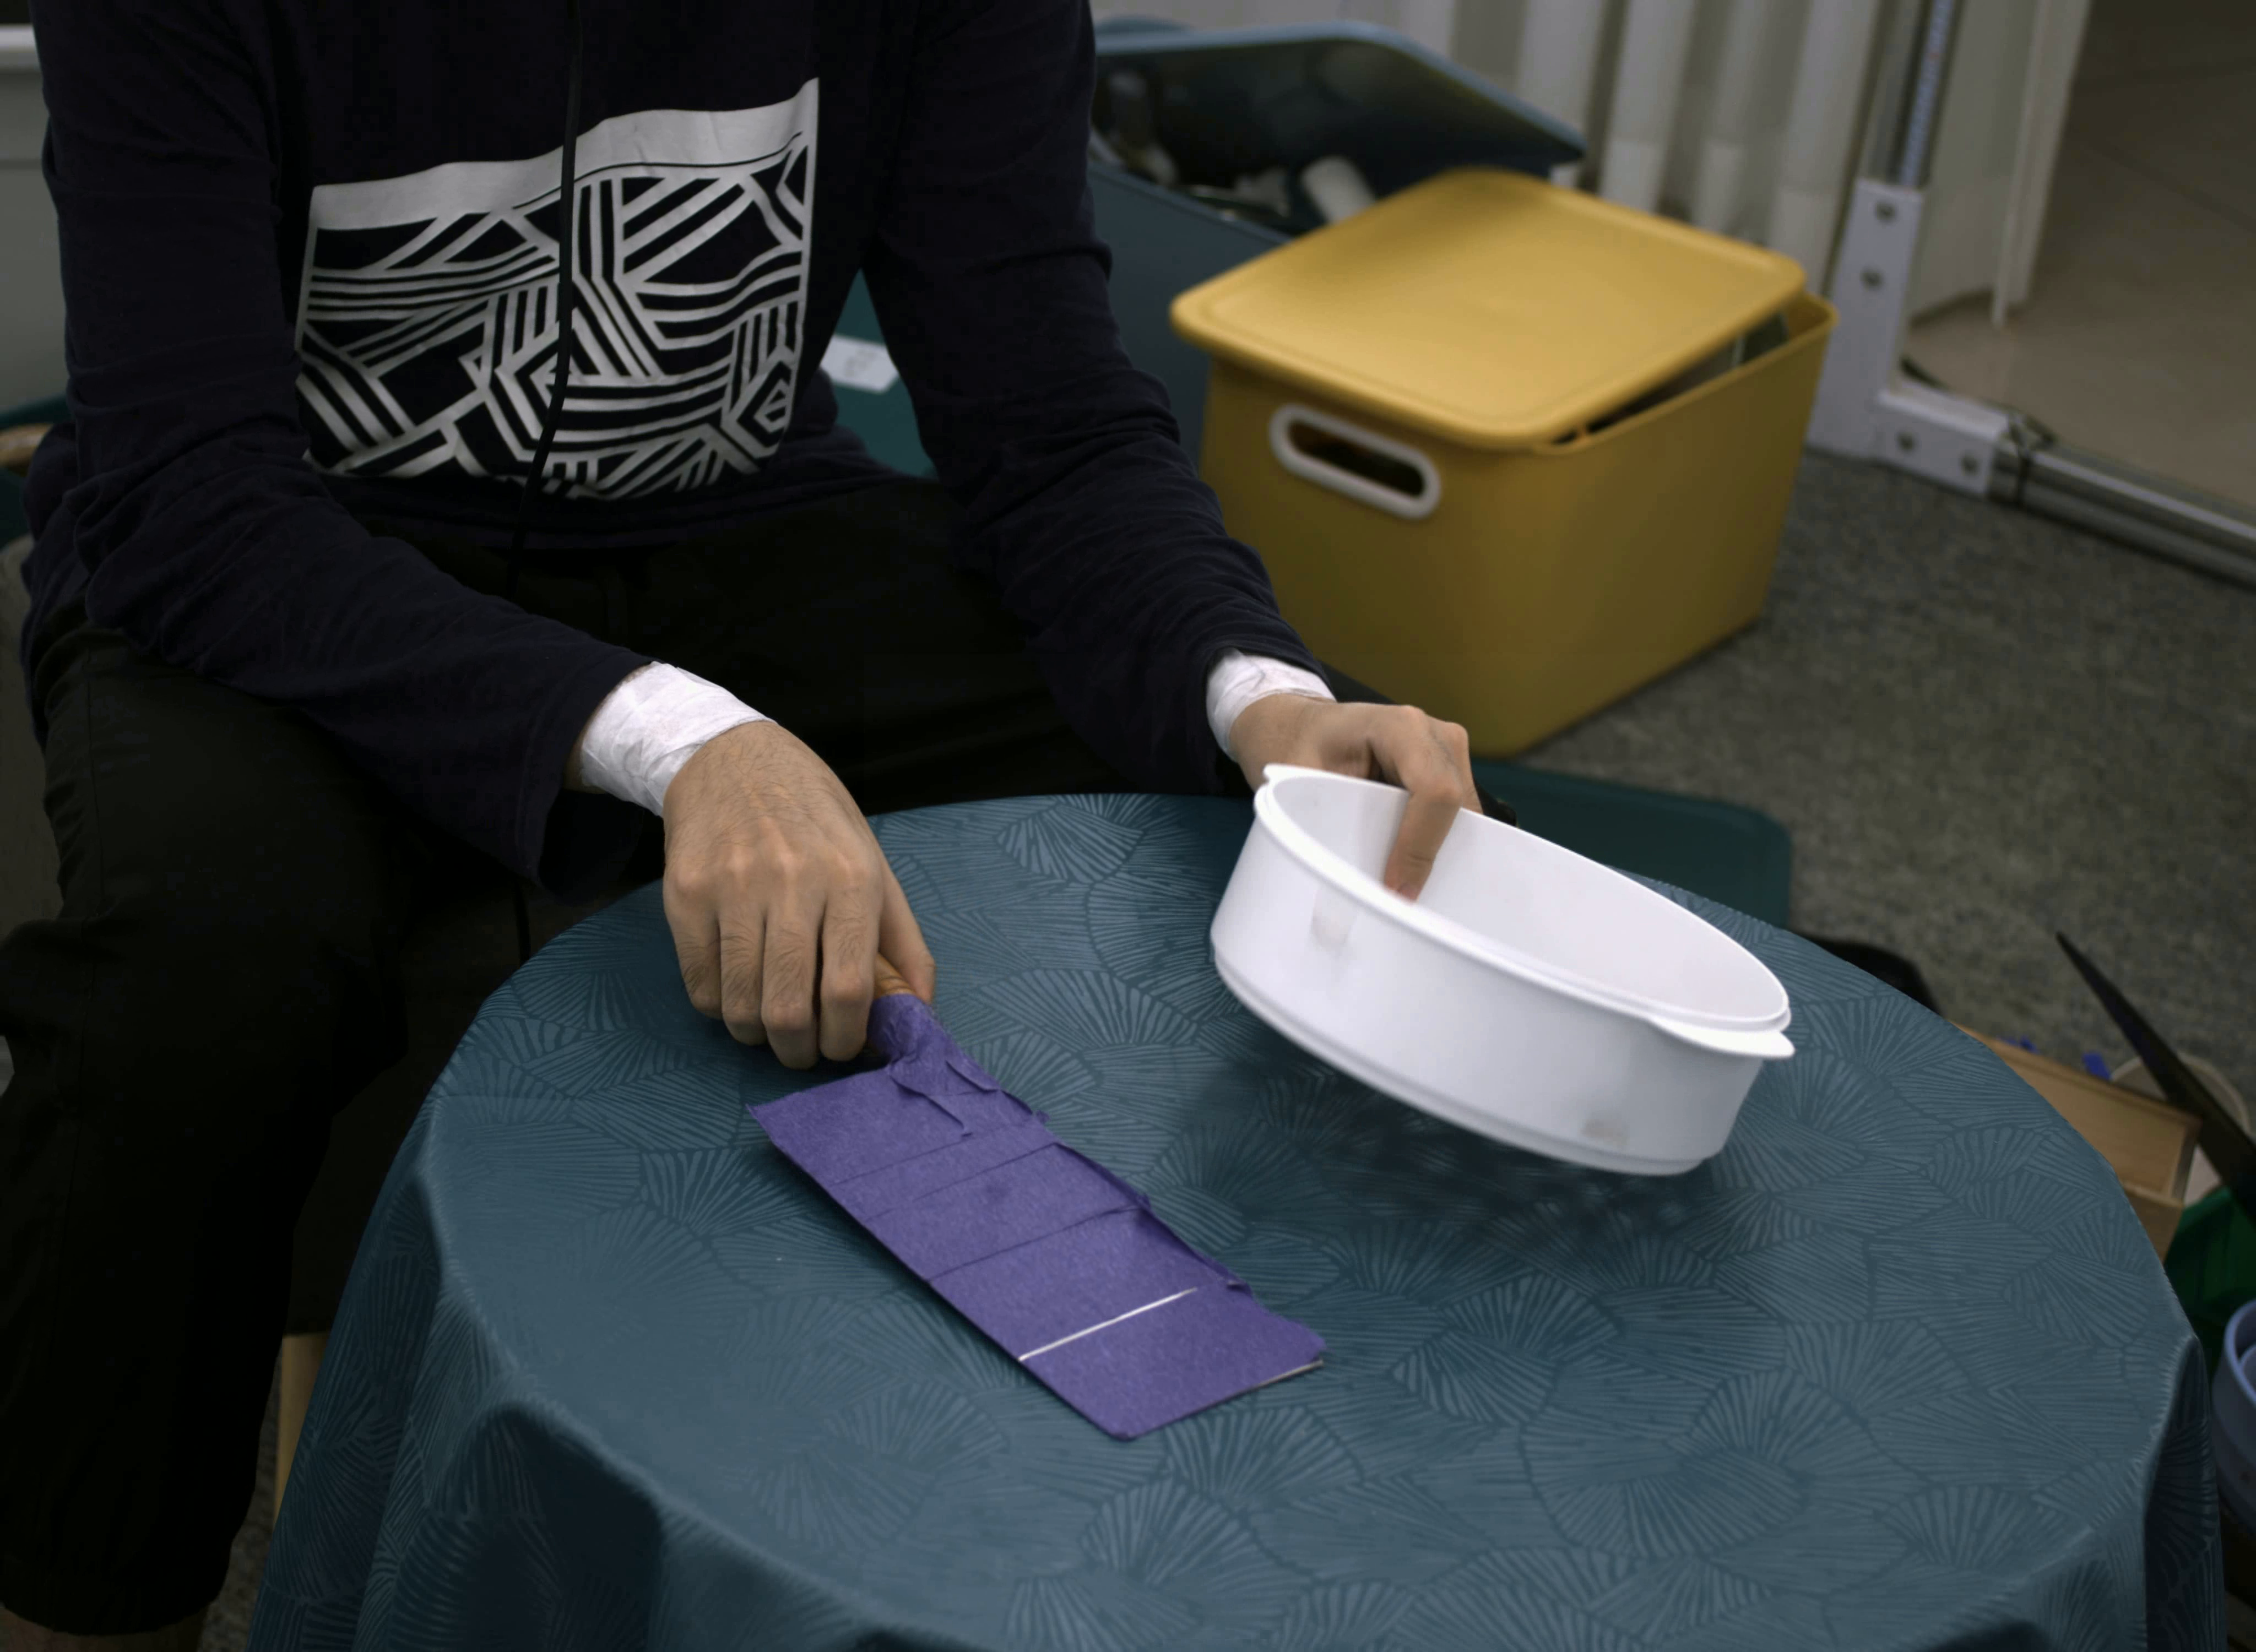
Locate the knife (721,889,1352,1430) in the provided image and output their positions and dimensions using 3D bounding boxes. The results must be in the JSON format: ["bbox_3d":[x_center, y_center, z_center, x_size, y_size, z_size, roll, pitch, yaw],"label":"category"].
[{"bbox_3d":[-0.061,0.108,1.791,0.103,0.032,0.318,-15,34,-36],"label":"knife"}]

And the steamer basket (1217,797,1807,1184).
[{"bbox_3d":[0.128,0.059,1.842,0.200,0.069,0.232,7,17,-46],"label":"steamer basket"}]
